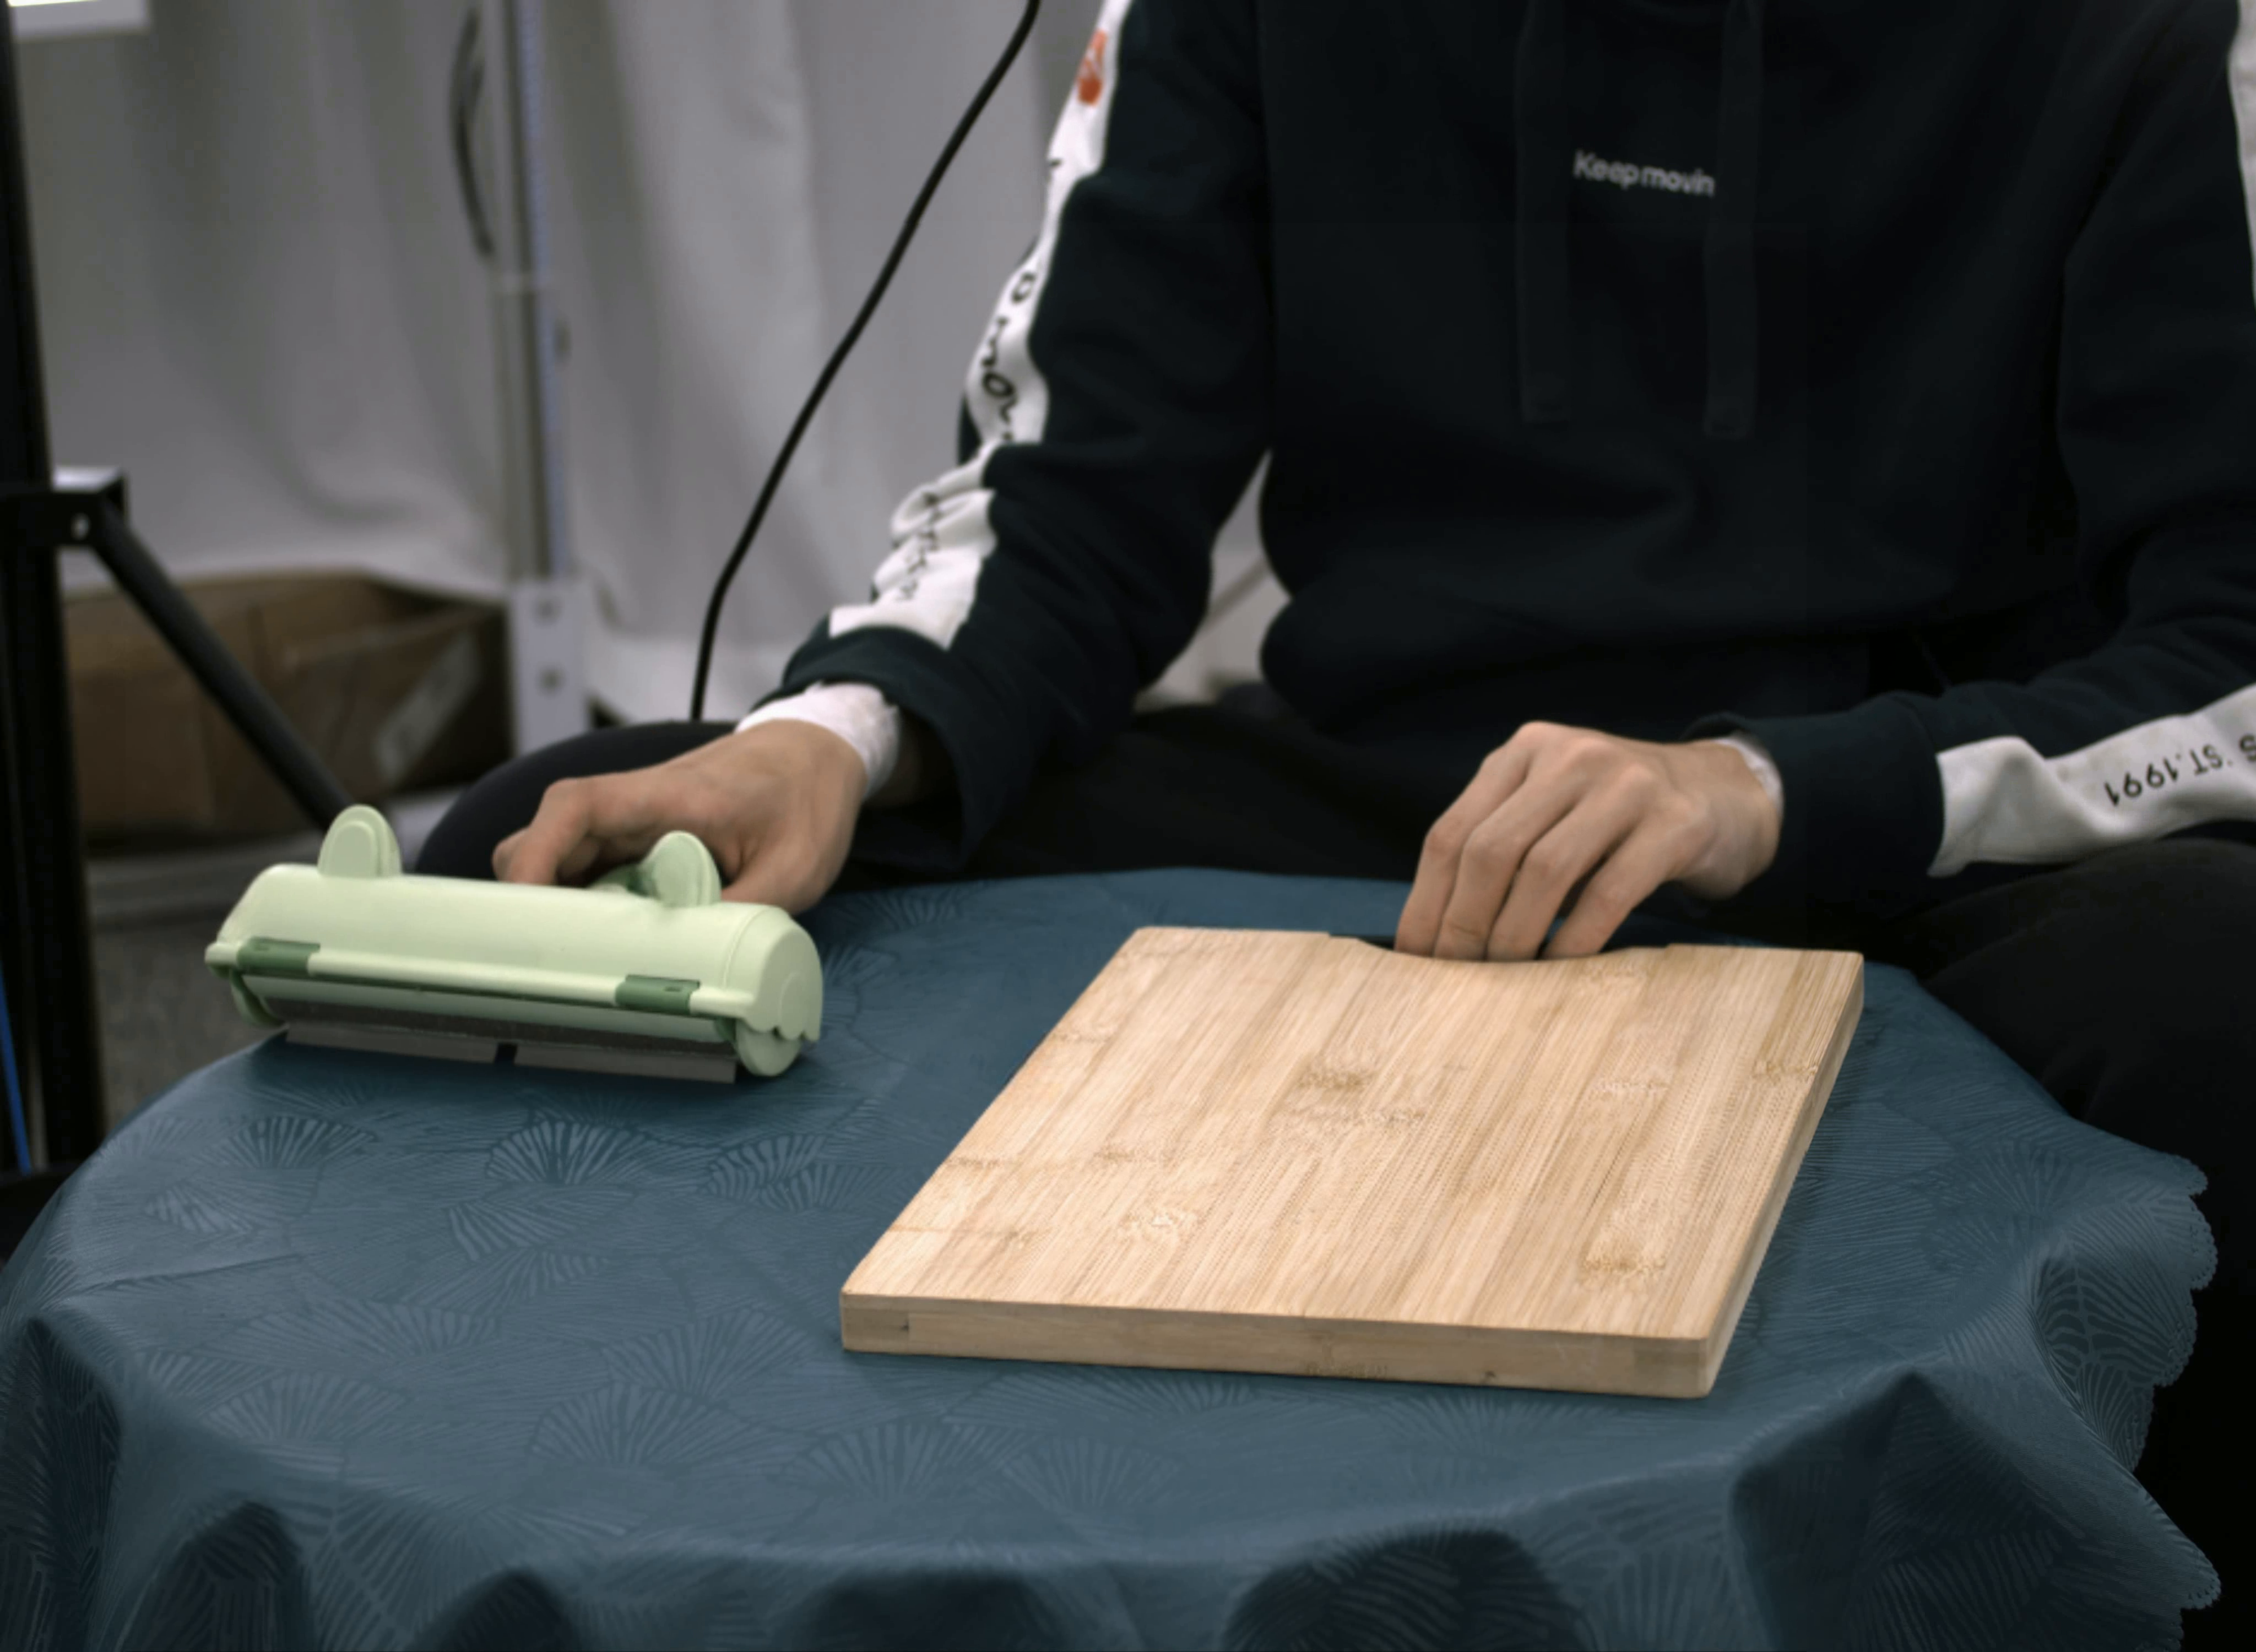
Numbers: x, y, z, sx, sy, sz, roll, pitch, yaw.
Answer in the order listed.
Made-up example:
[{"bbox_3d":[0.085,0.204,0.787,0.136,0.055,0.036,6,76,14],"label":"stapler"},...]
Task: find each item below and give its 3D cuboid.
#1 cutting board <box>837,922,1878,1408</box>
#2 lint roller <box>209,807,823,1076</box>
[{"bbox_3d":[0.080,0.092,1.570,0.252,0.023,0.346,2,17,15],"label":"cutting board"},{"bbox_3d":[-0.175,0.020,1.754,0.201,0.082,0.181,4,22,24],"label":"lint roller"}]
